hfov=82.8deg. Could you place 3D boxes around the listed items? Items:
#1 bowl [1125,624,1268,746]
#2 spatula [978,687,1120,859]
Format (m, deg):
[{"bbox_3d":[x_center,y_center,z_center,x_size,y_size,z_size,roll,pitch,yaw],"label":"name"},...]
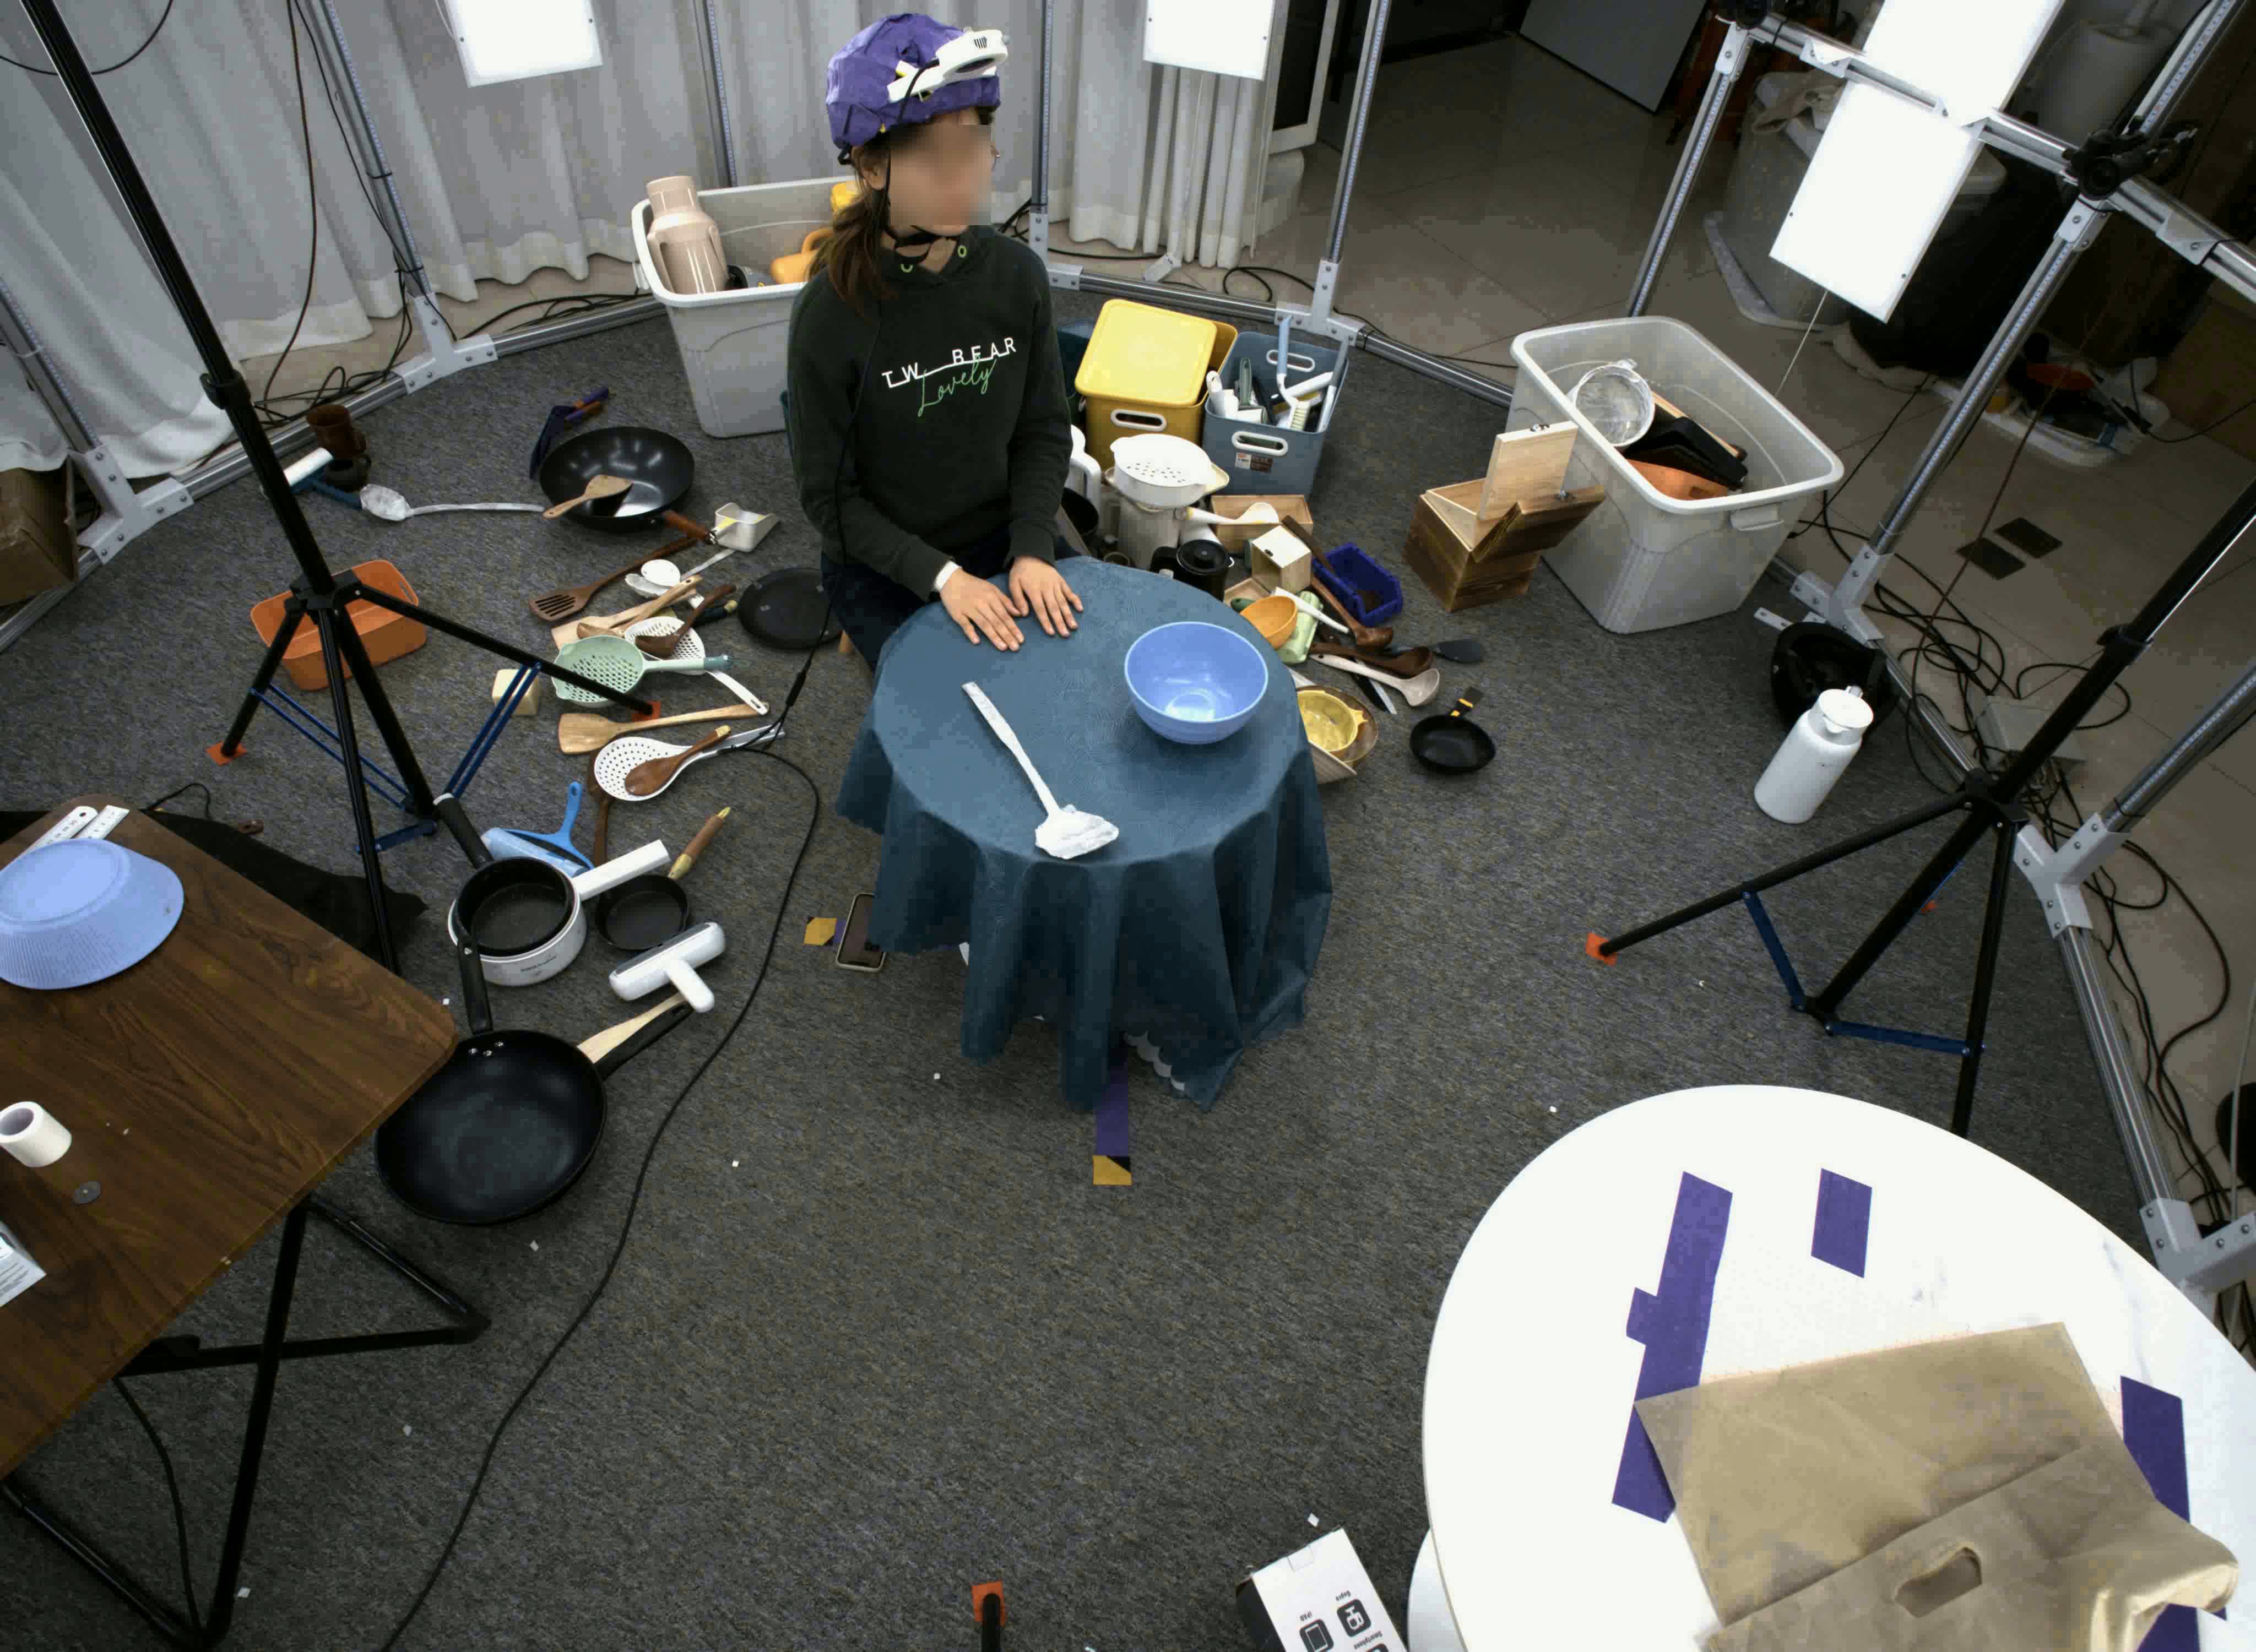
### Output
[{"bbox_3d":[0.091,-0.181,1.787,0.196,0.093,0.201,2,50,-2],"label":"bowl"},{"bbox_3d":[-0.129,-0.082,1.722,0.099,0.043,0.373,-21,53,-18],"label":"spatula"}]
